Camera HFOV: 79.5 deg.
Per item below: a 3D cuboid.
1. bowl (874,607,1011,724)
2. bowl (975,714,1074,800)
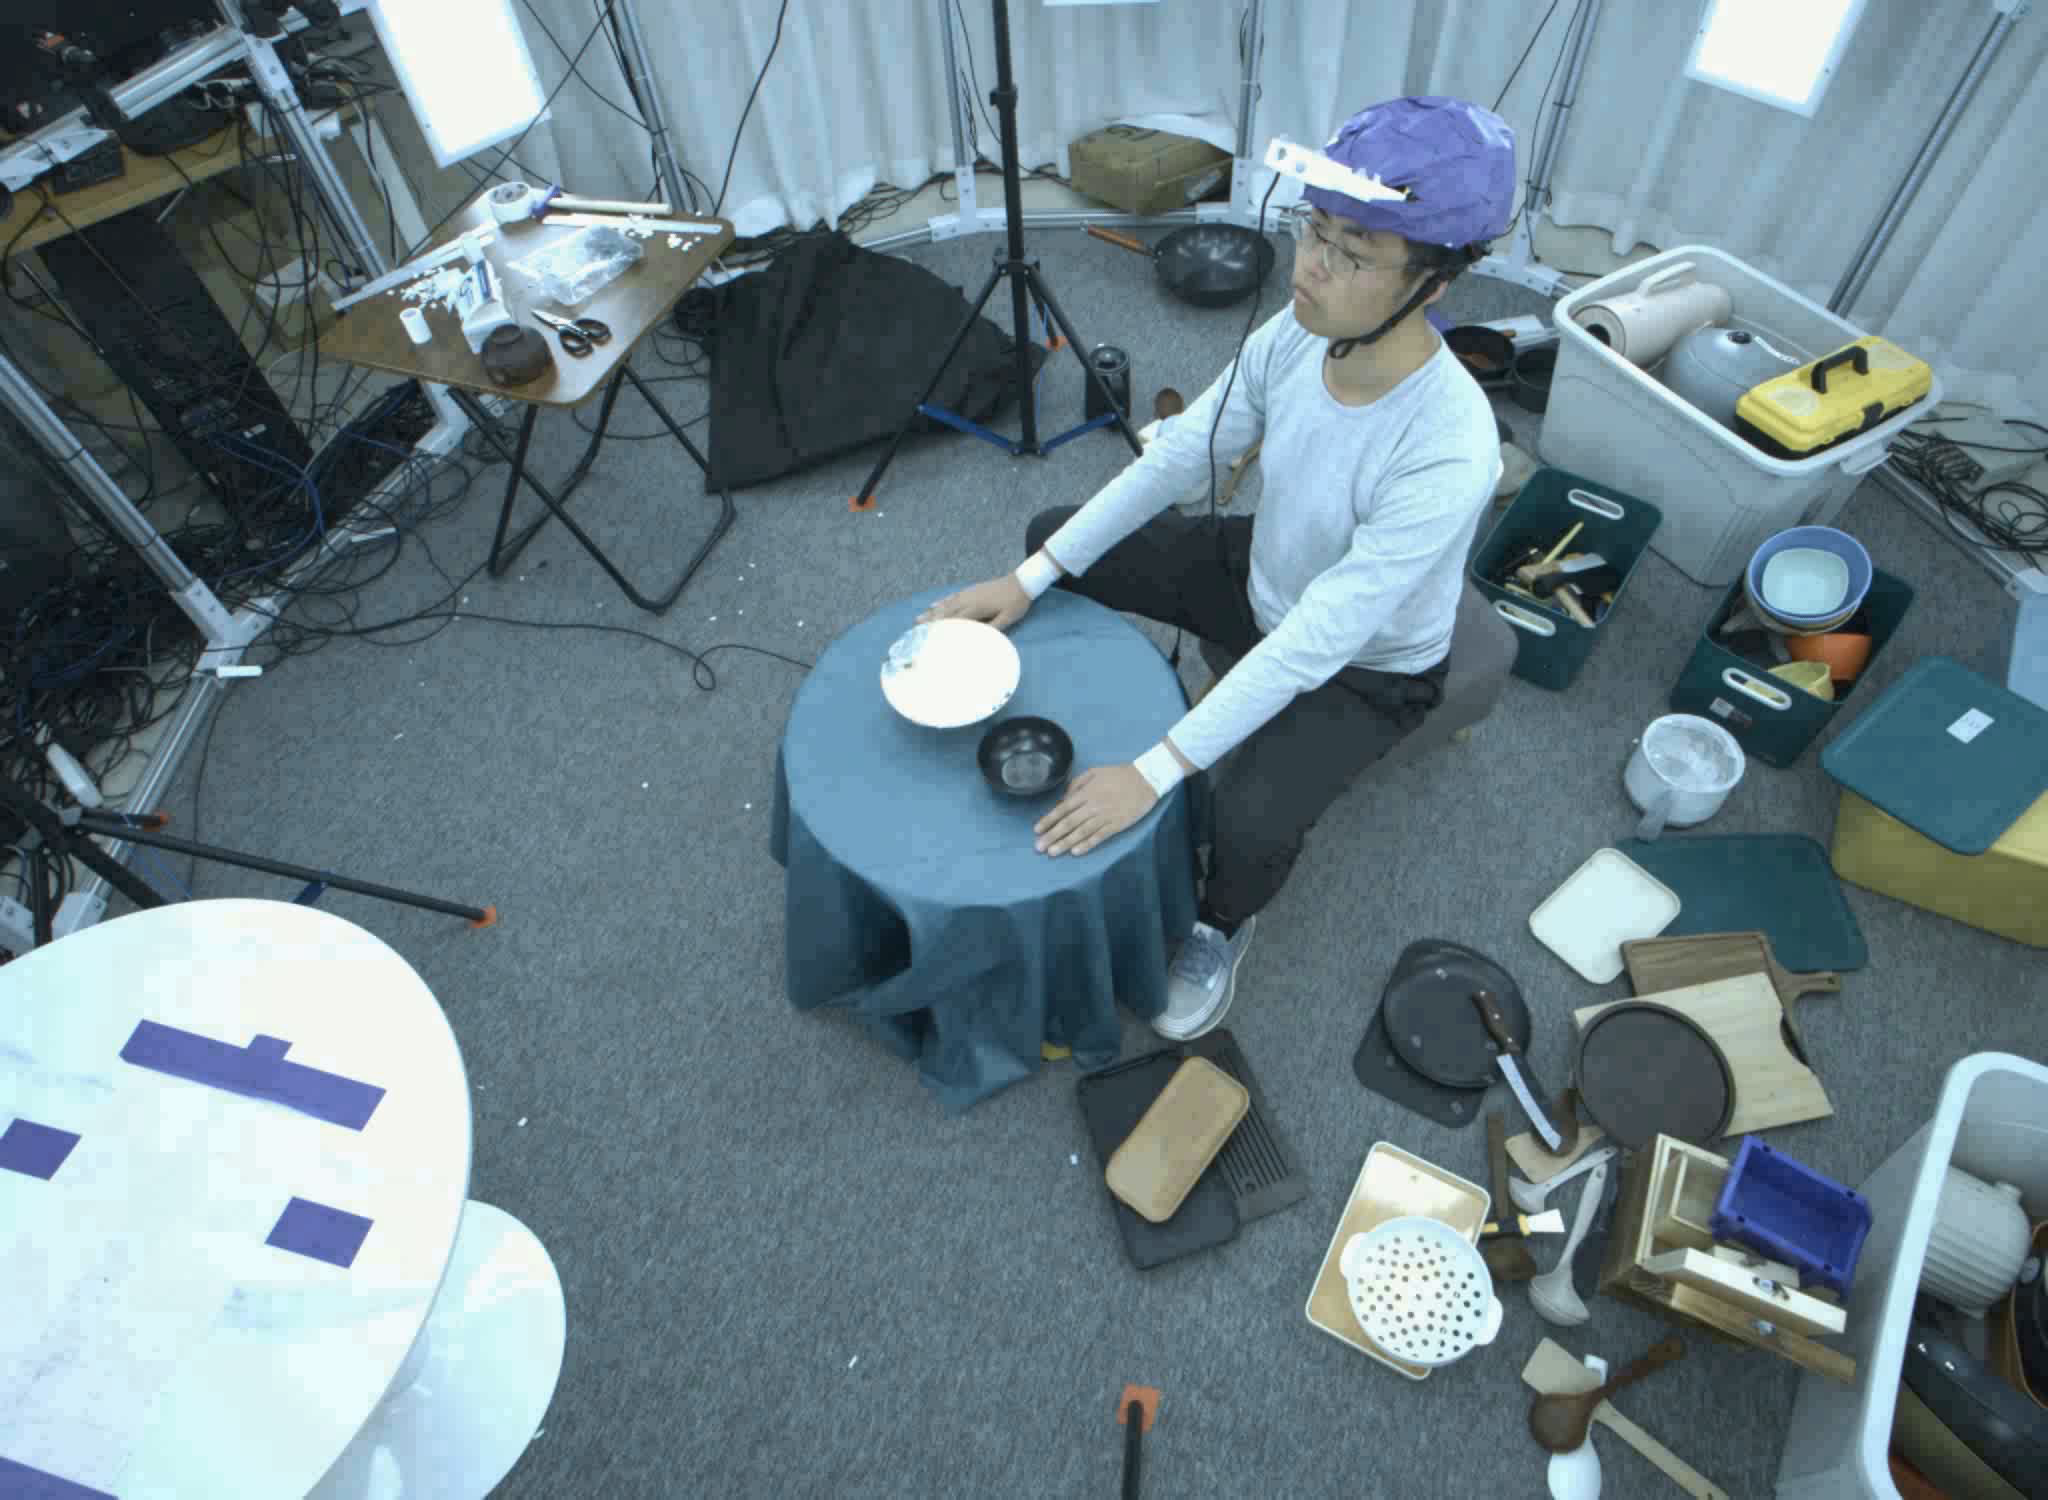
[{"bbox_3d":[-0.114,-0.107,1.811,0.203,0.079,0.202,-3,60,7],"label":"bowl"},{"bbox_3d":[0.001,0.018,1.752,0.140,0.050,0.138,1,56,-1],"label":"bowl"}]
